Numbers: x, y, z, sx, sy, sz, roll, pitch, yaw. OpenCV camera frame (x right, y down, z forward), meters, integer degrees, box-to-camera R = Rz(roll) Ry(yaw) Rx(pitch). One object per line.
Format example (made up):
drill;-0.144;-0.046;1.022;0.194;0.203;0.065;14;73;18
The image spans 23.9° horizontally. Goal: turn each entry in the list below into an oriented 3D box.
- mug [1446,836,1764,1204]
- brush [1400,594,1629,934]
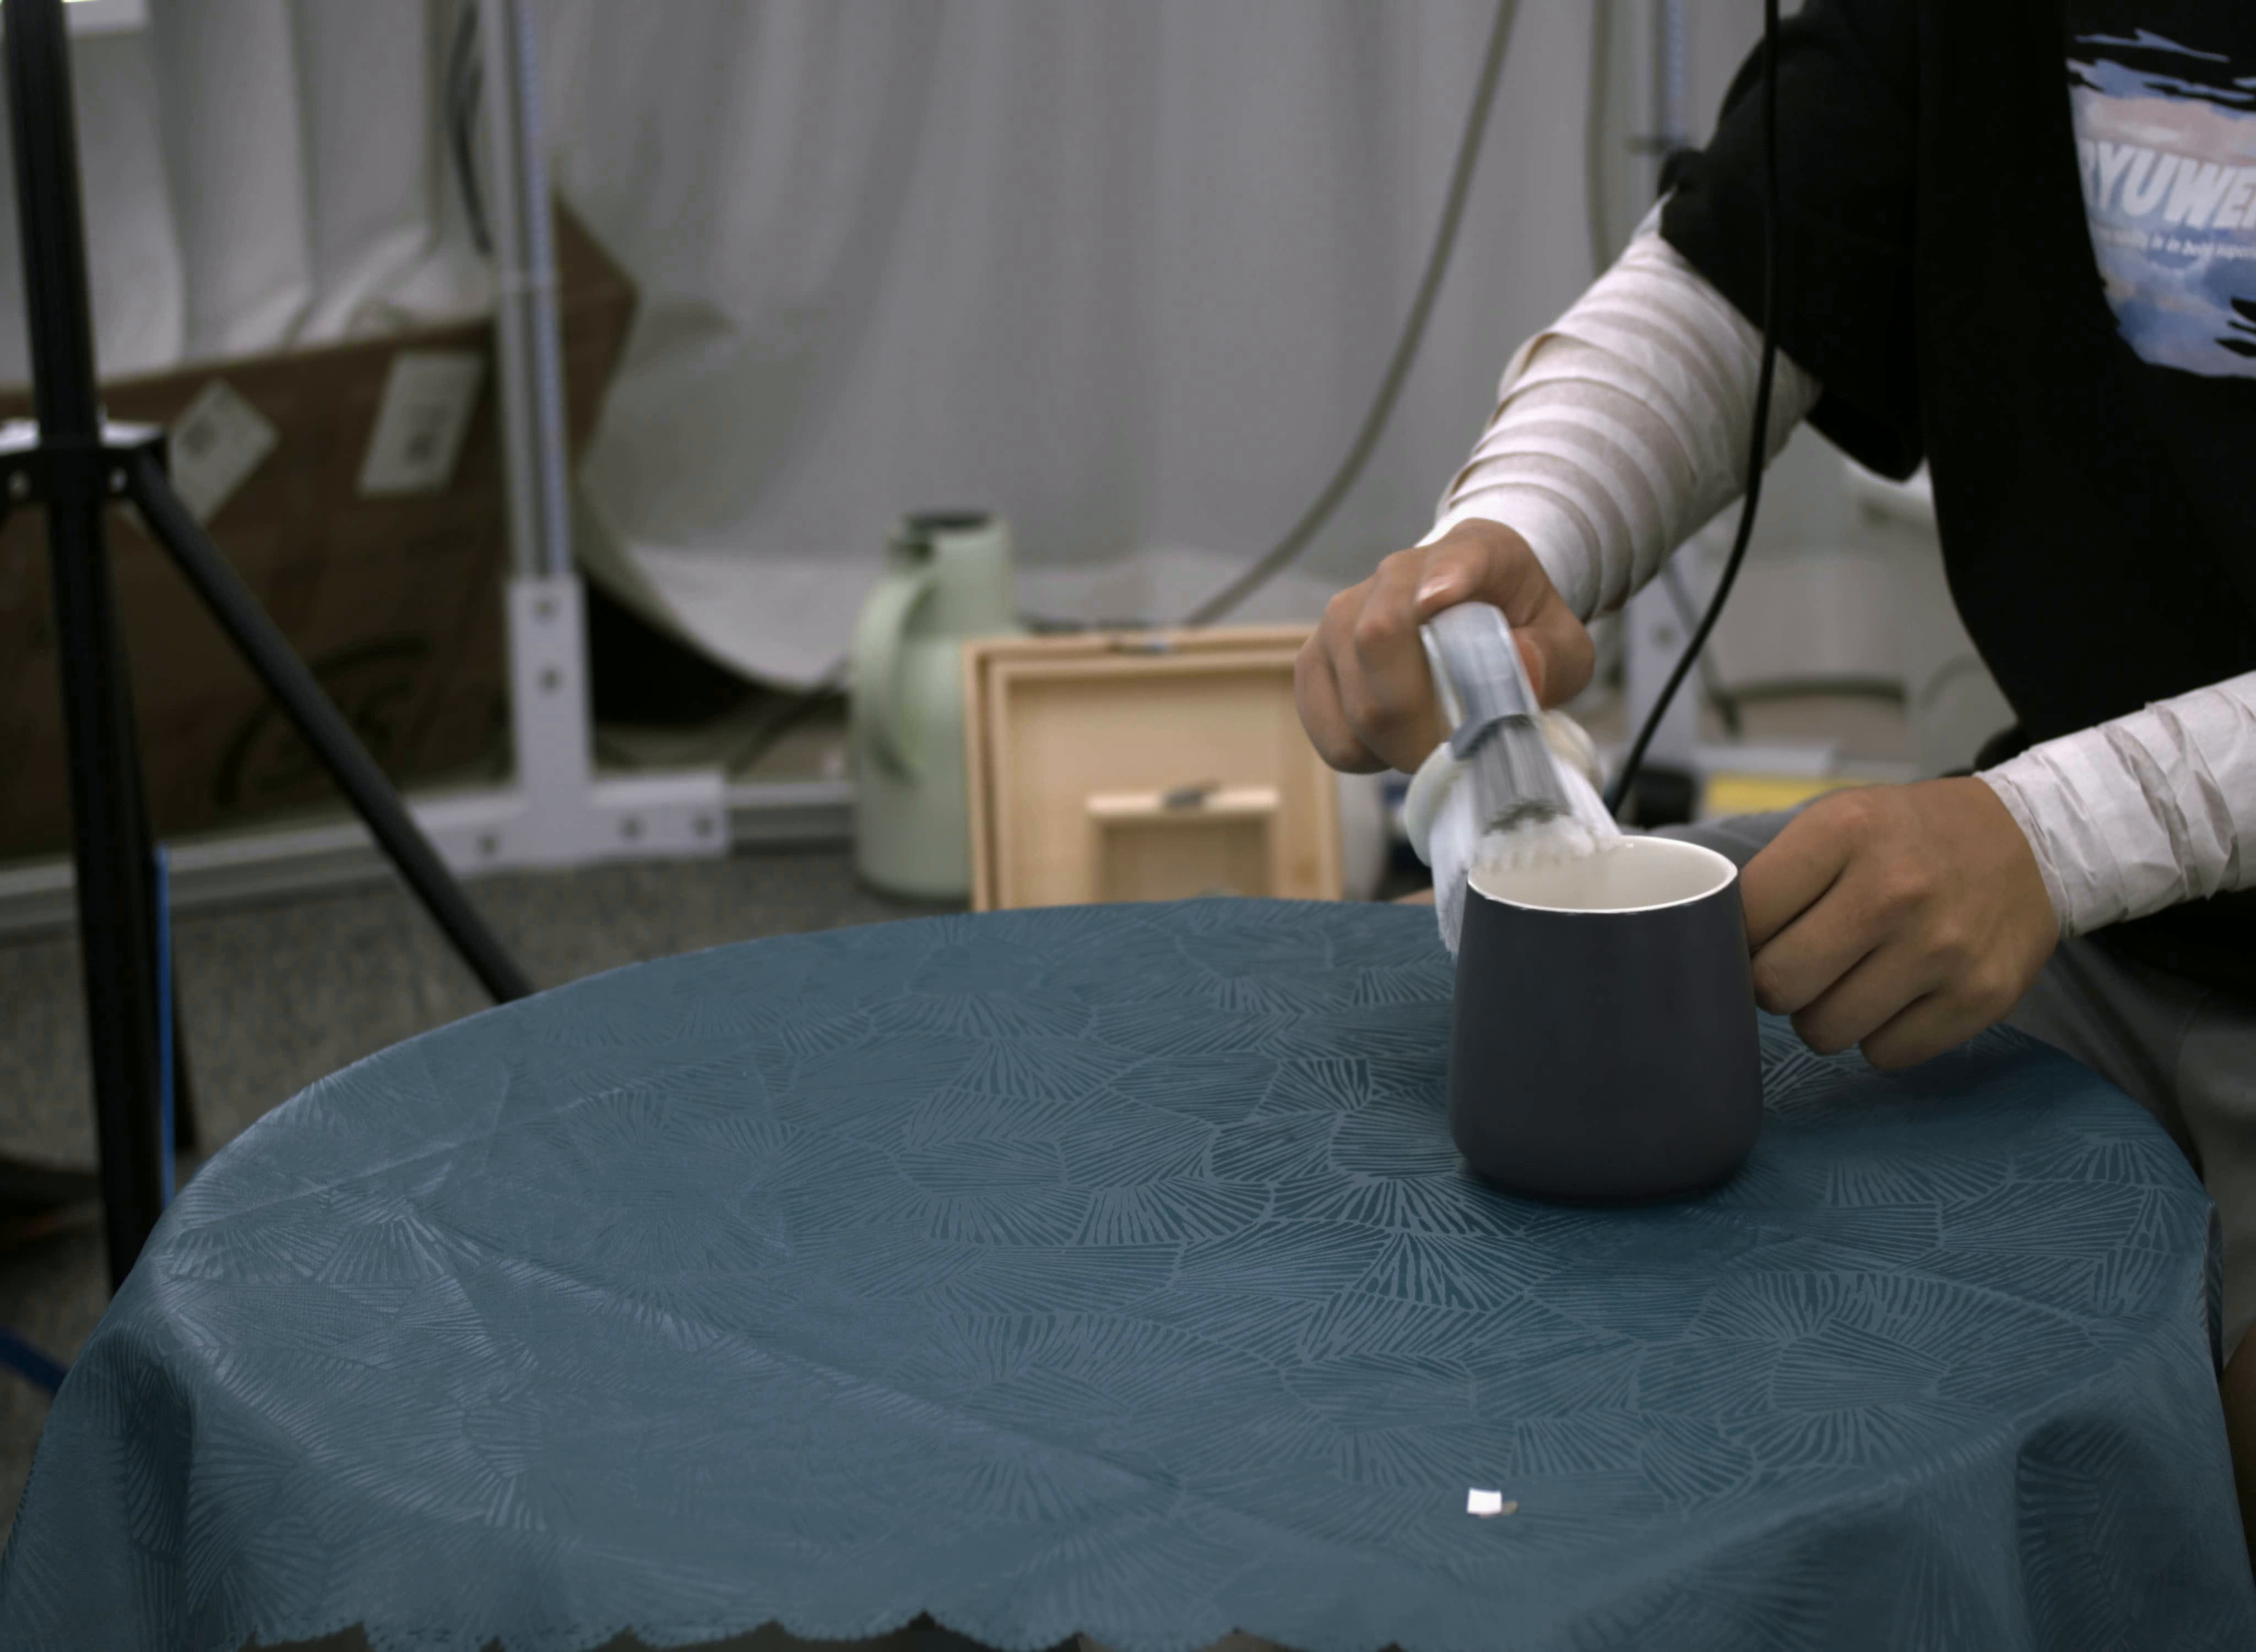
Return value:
mug;0.148;0.054;1.565;0.095;0.090;0.120;8;18;36
brush;0.109;-0.027;1.593;0.061;0.095;0.174;-20;-12;3
